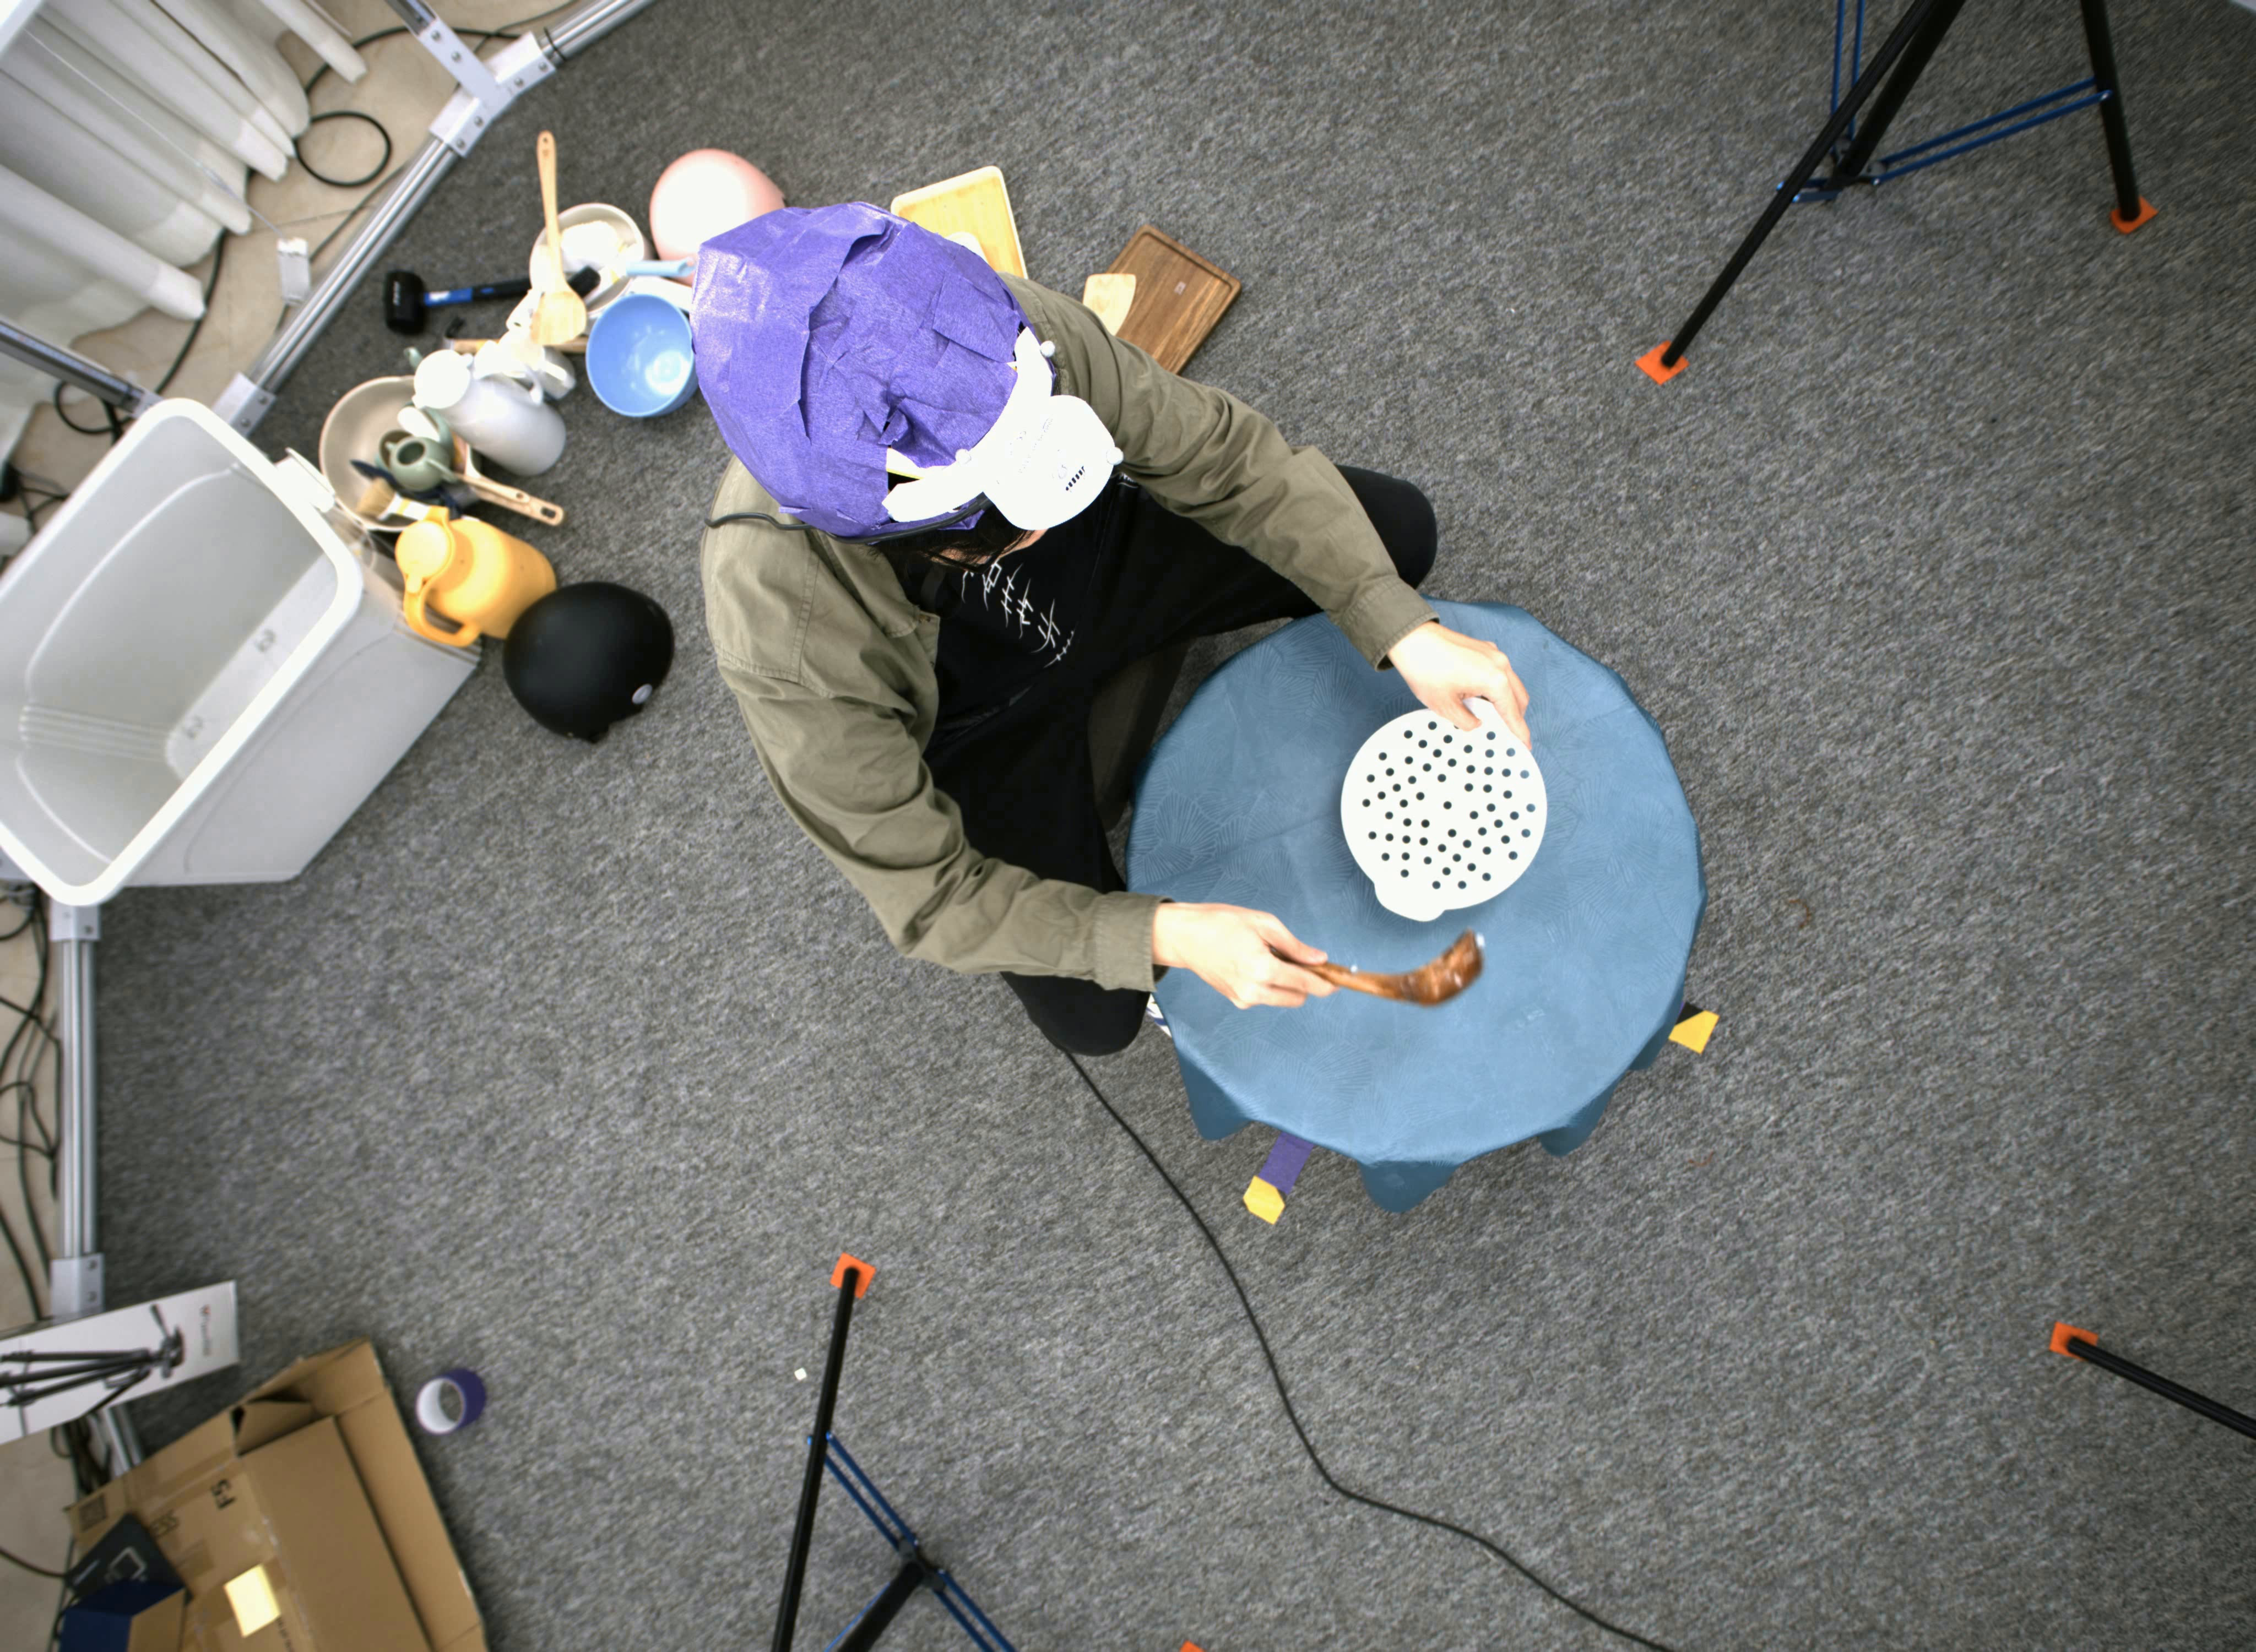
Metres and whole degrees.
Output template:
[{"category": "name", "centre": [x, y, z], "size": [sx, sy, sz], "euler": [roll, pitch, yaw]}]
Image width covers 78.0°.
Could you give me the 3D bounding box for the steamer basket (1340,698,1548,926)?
[{"category": "steamer basket", "centre": [0.318, -0.016, 1.385], "size": [0.202, 0.068, 0.233], "euler": [21, 103, 14]}]

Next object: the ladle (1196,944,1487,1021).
[{"category": "ladle", "centre": [0.185, 0.117, 1.243], "size": [0.274, 0.080, 0.078], "euler": [12, 118, 26]}]
